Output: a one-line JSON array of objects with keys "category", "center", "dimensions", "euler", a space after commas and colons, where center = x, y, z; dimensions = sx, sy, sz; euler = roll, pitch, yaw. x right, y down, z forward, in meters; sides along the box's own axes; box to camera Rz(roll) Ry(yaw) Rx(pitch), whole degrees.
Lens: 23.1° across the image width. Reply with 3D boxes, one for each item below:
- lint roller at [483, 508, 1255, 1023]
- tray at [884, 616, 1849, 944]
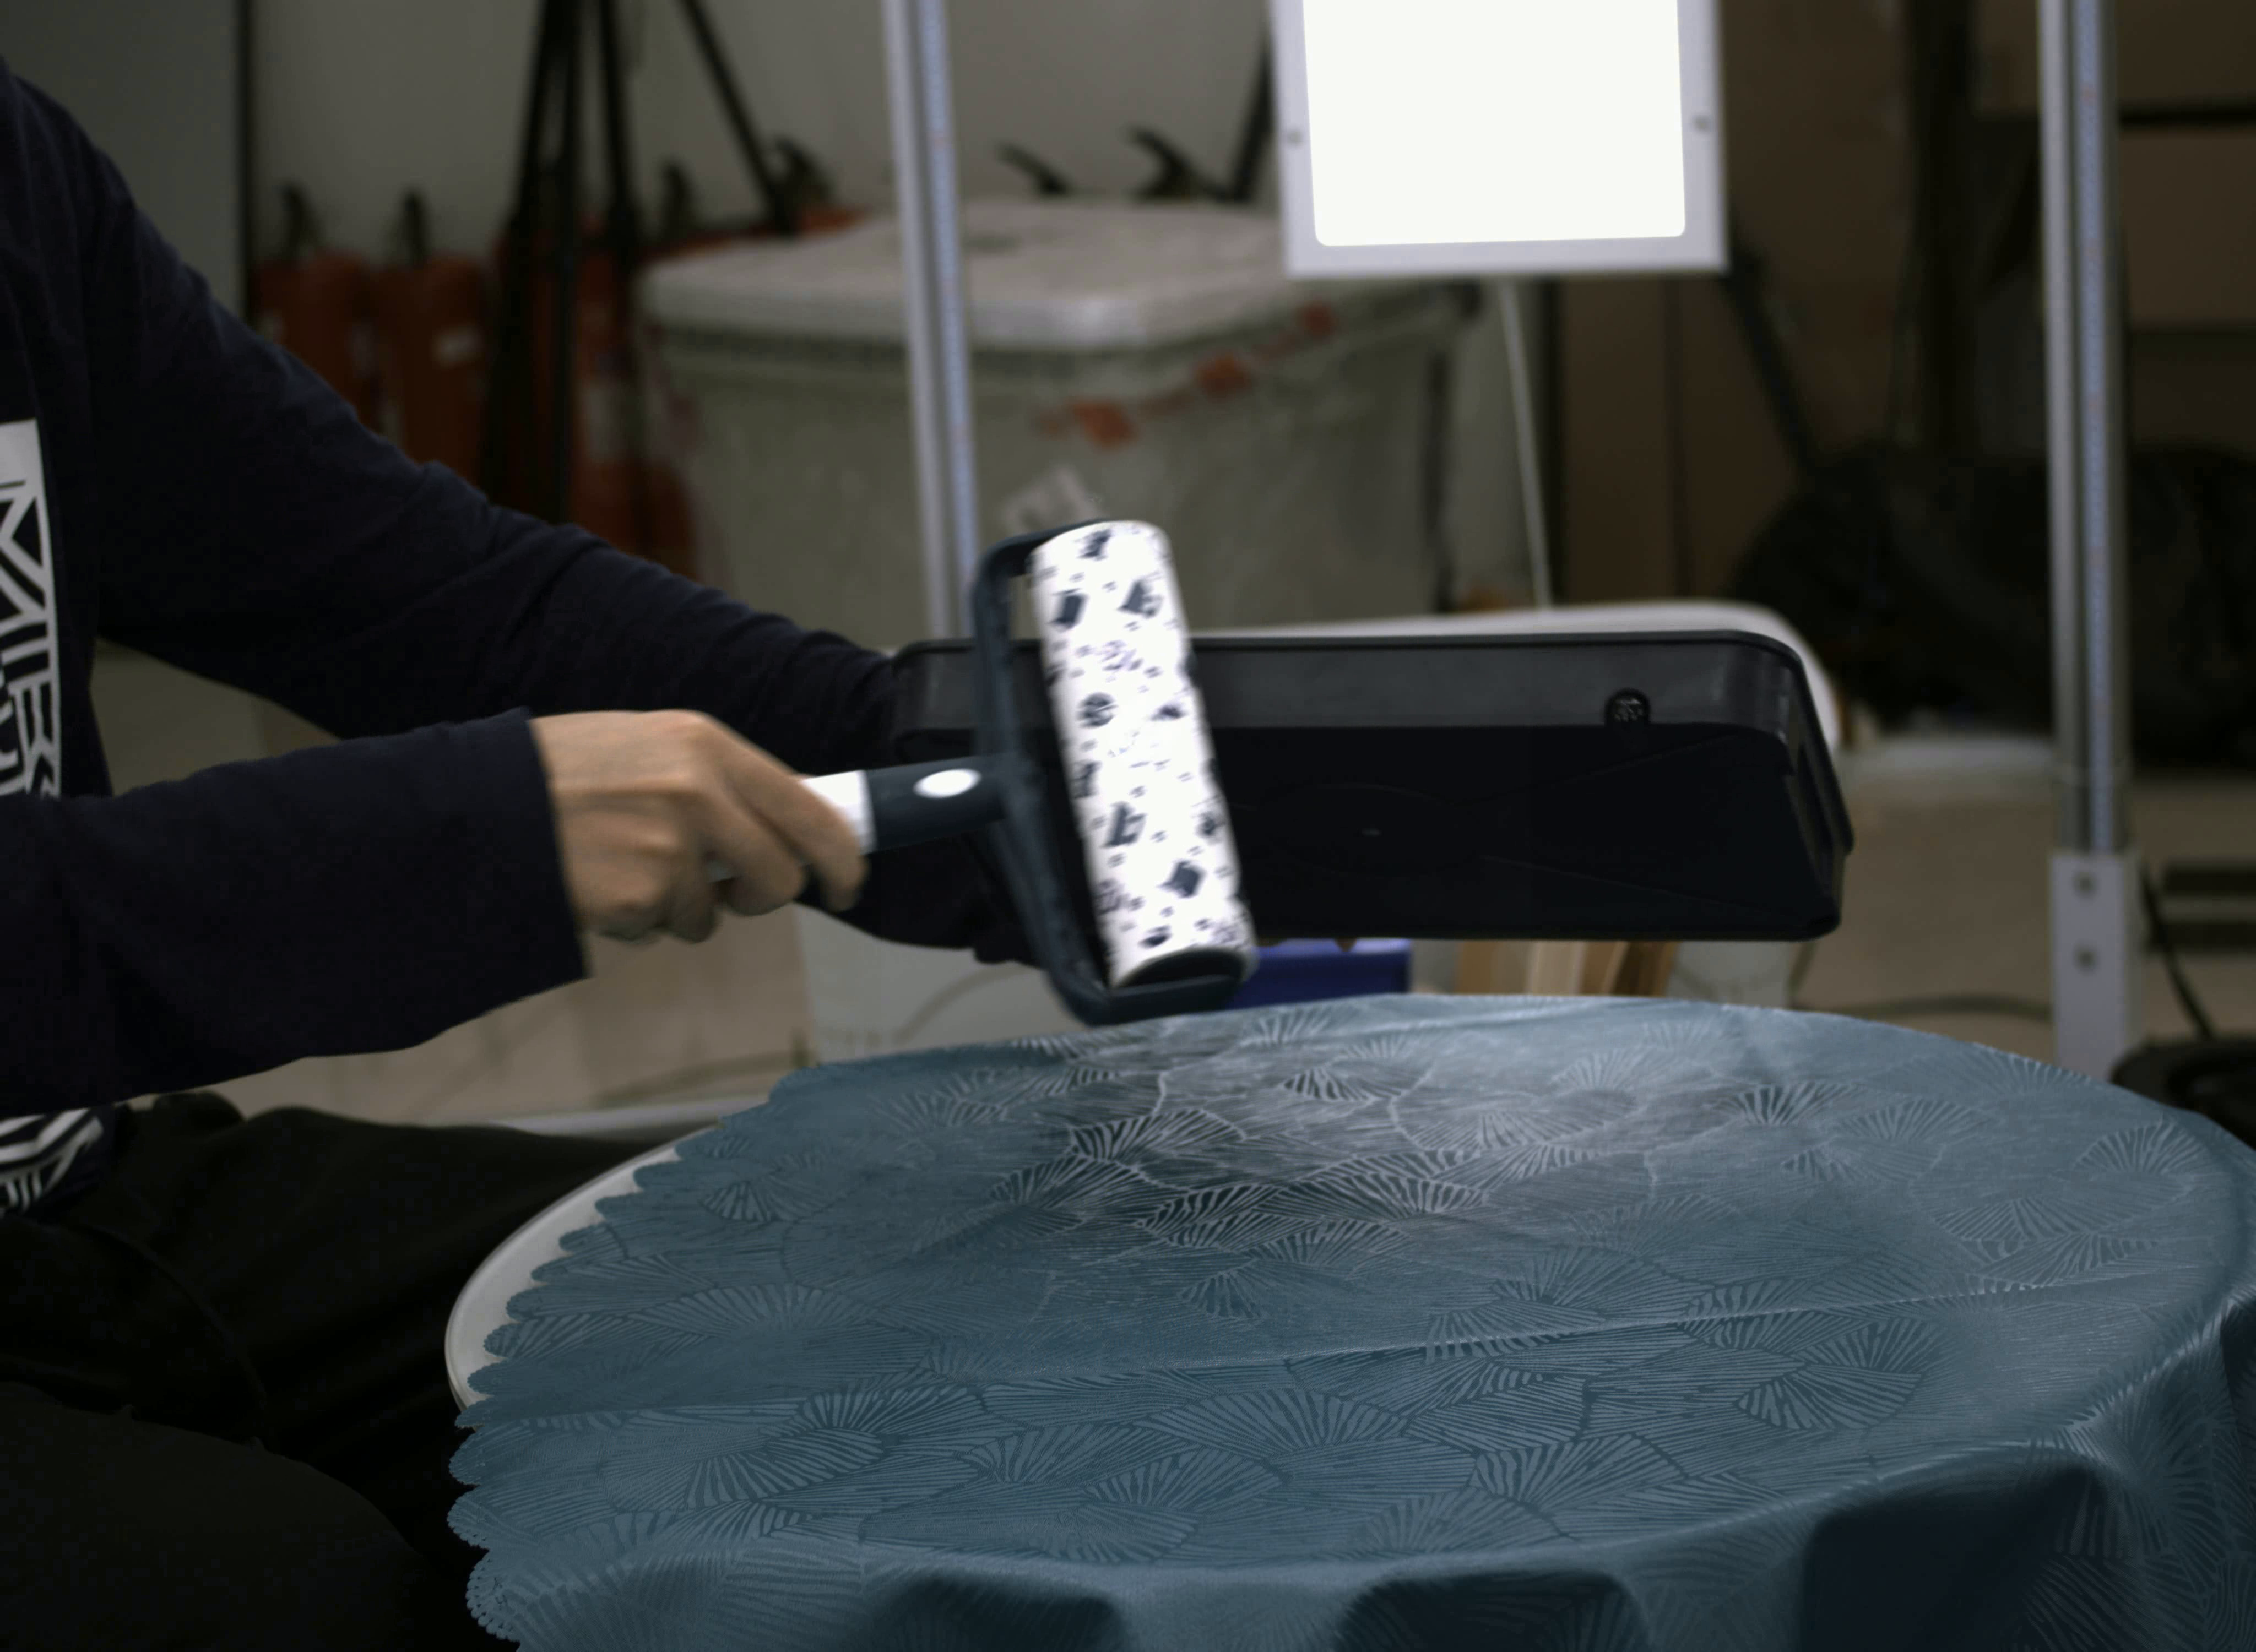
[{"category": "lint roller", "center": [-0.092, -0.003, 1.819], "dimensions": [0.246, 0.177, 0.050], "euler": [-11, -24, -1]}, {"category": "tray", "center": [0.084, -0.012, 1.919], "dimensions": [0.321, 0.037, 0.183], "euler": [0, -26, 18]}]
